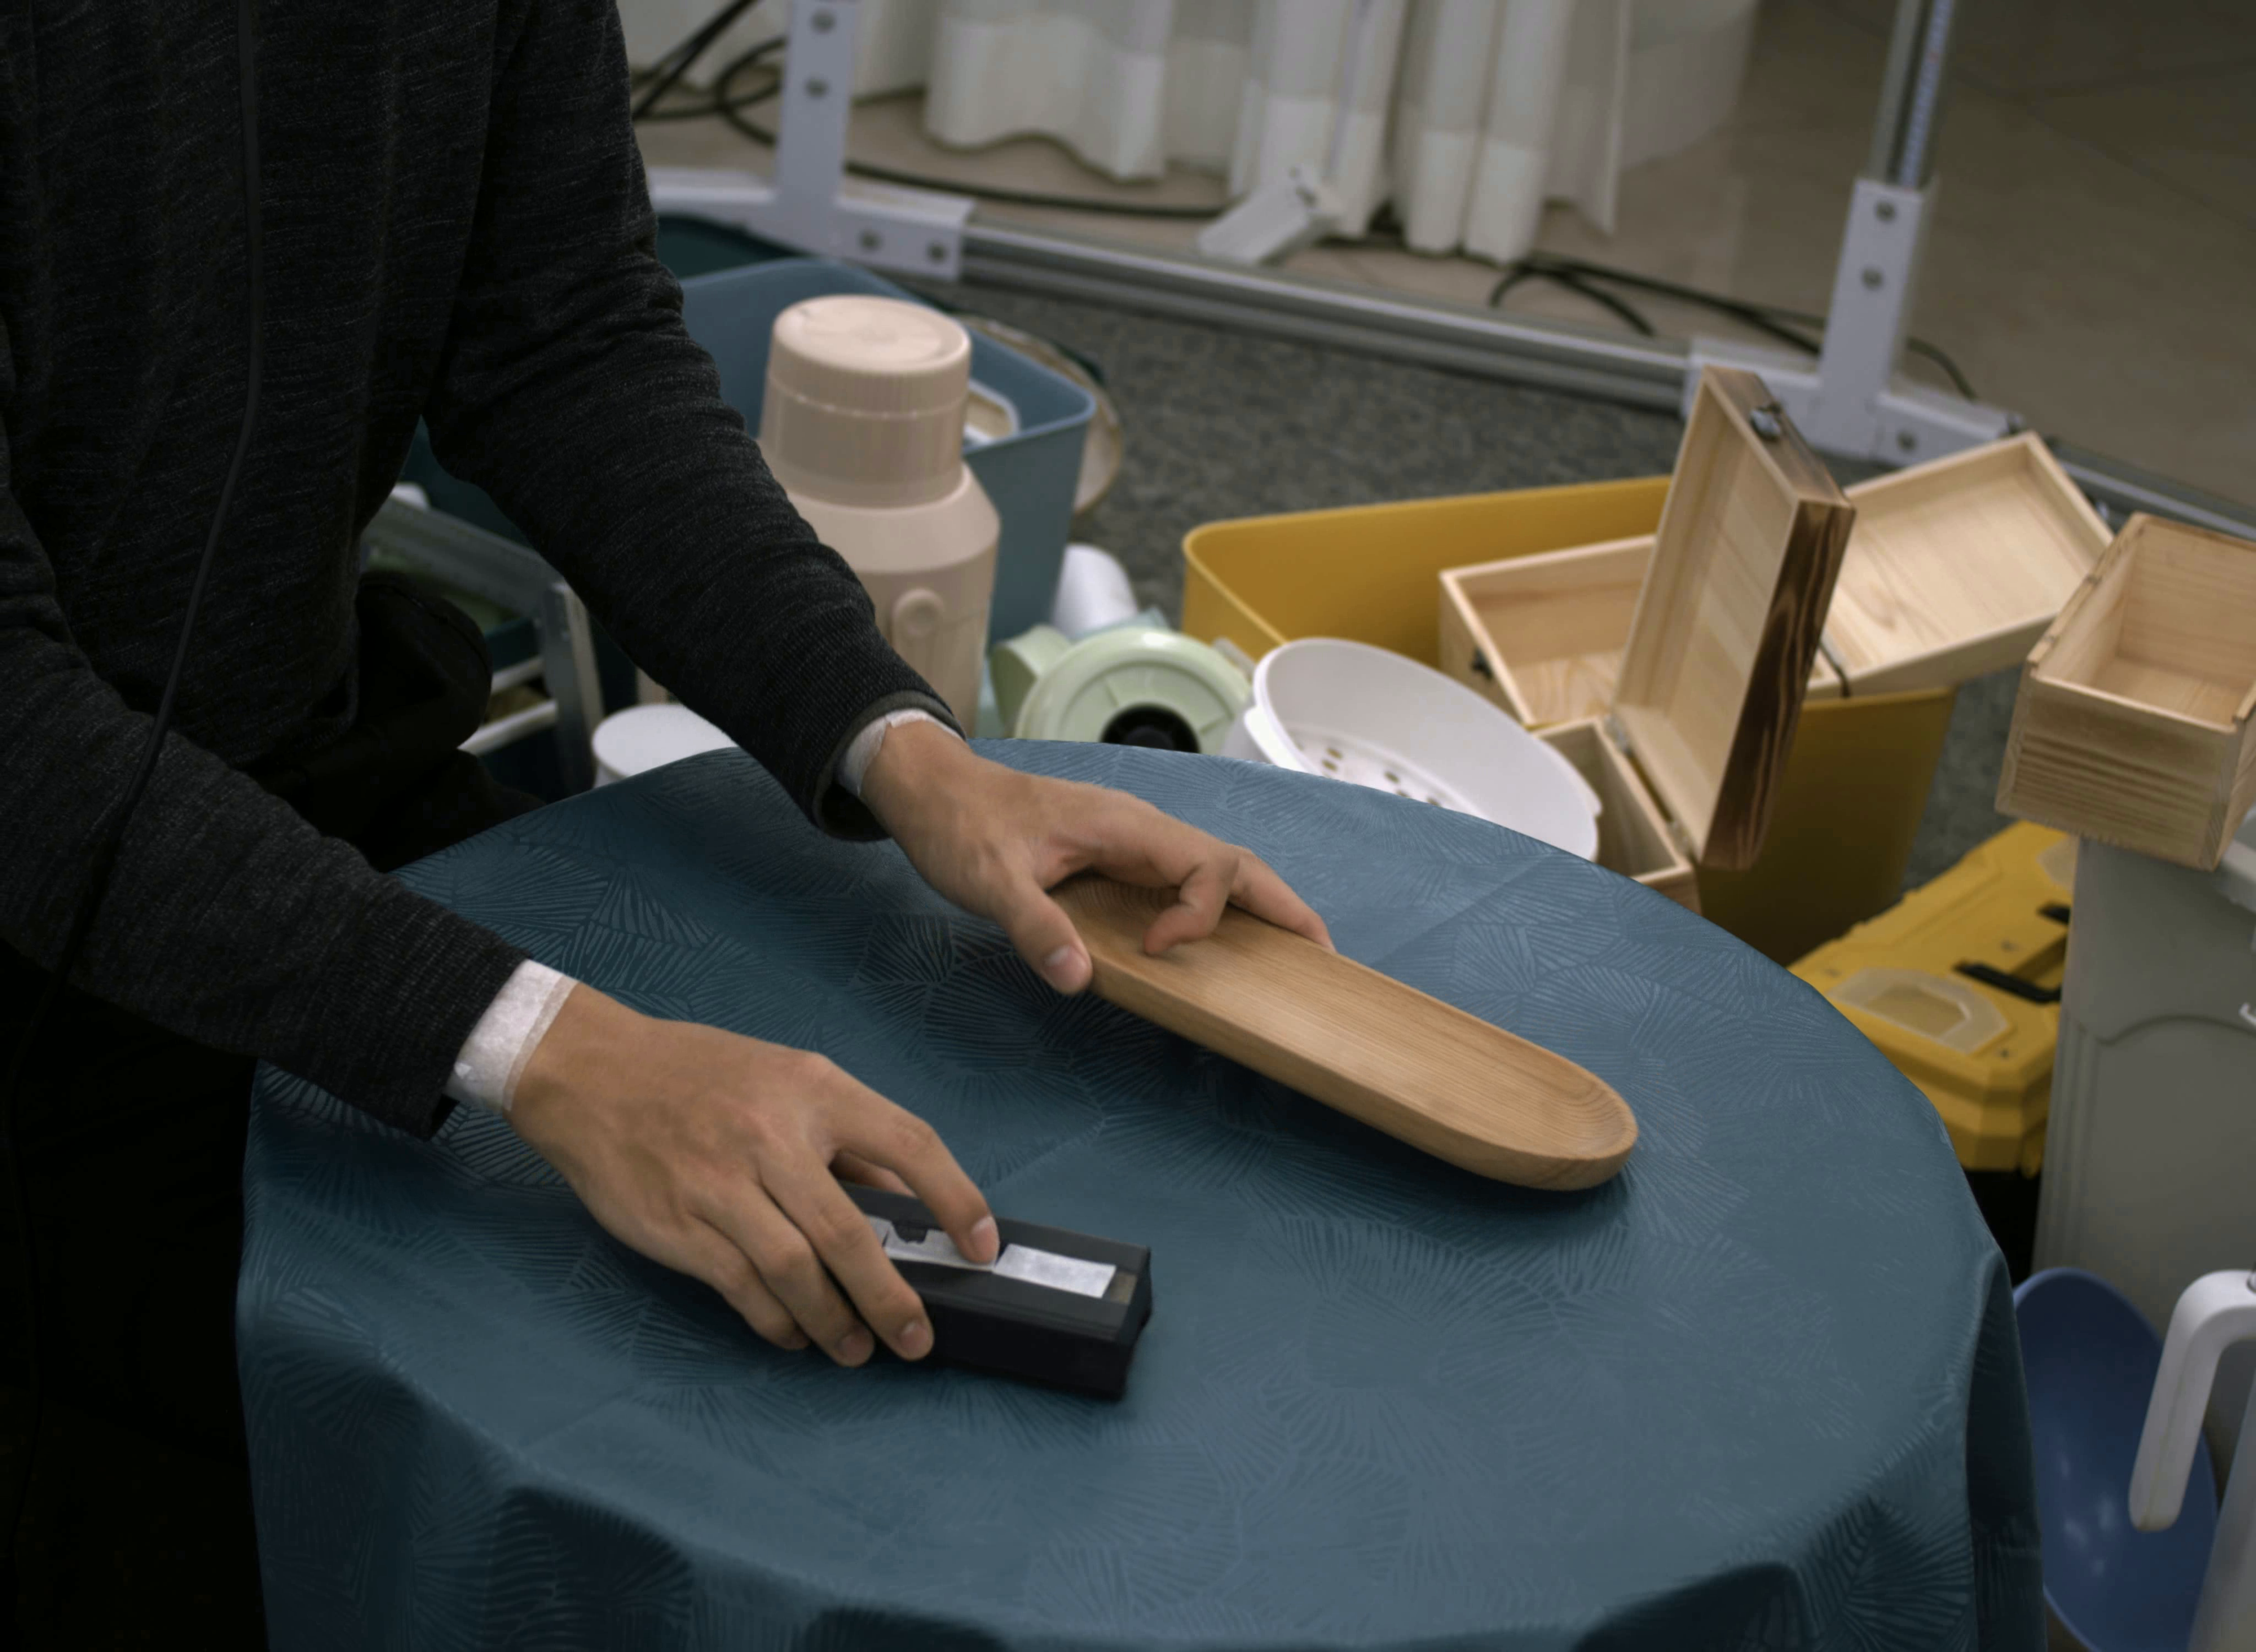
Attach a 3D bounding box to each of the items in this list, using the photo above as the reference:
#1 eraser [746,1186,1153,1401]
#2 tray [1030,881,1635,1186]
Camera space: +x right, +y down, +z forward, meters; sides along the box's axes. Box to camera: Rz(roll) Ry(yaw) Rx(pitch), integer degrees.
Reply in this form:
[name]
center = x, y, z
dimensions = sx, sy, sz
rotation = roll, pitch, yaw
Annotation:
[eraser]
center = -0.057, 0.149, 1.704
dimensions = 0.125, 0.030, 0.054
rotation = 11, 29, 8
[tray]
center = 0.070, 0.072, 1.871
dimensions = 0.232, 0.020, 0.101
rotation = 22, 20, 21
